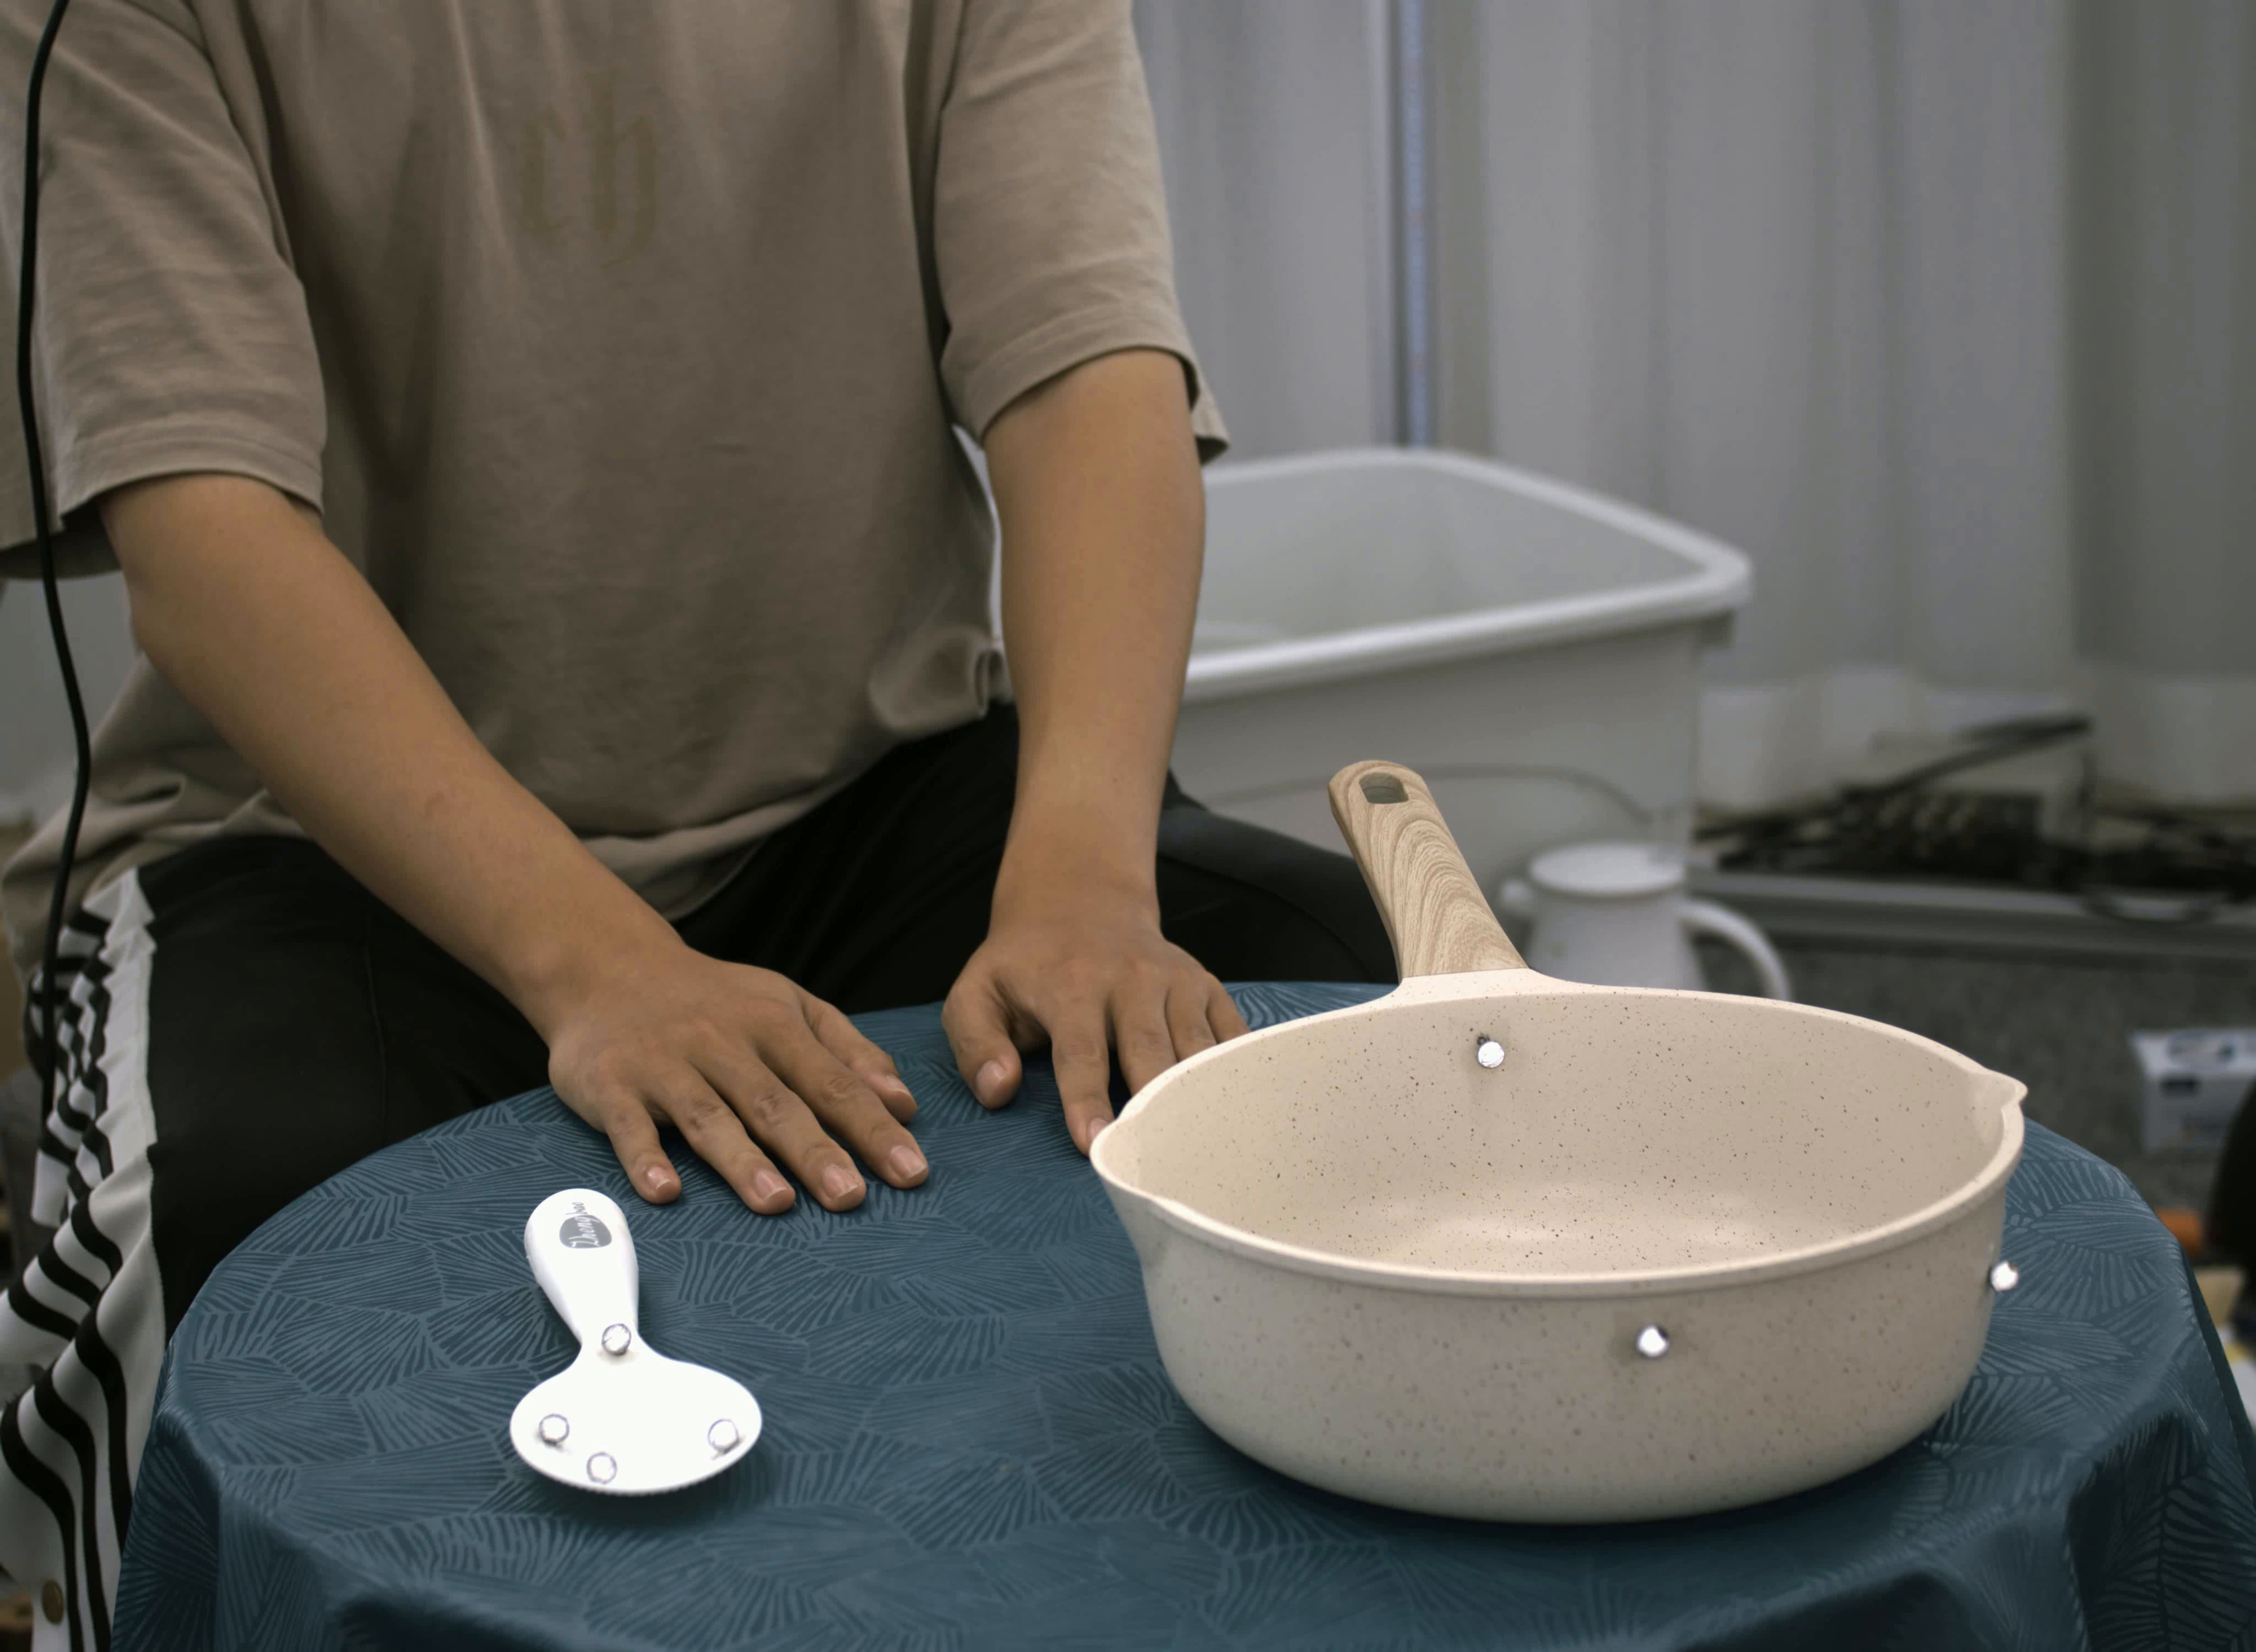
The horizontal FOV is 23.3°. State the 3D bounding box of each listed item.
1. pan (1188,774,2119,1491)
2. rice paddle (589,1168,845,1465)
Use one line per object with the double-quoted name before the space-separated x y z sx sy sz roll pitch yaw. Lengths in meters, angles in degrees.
"pan" 0.136 0.084 1.608 0.262 0.101 0.438 -7 15 -6
"rice paddle" -0.125 0.142 1.558 0.068 0.029 0.207 -8 15 -11
